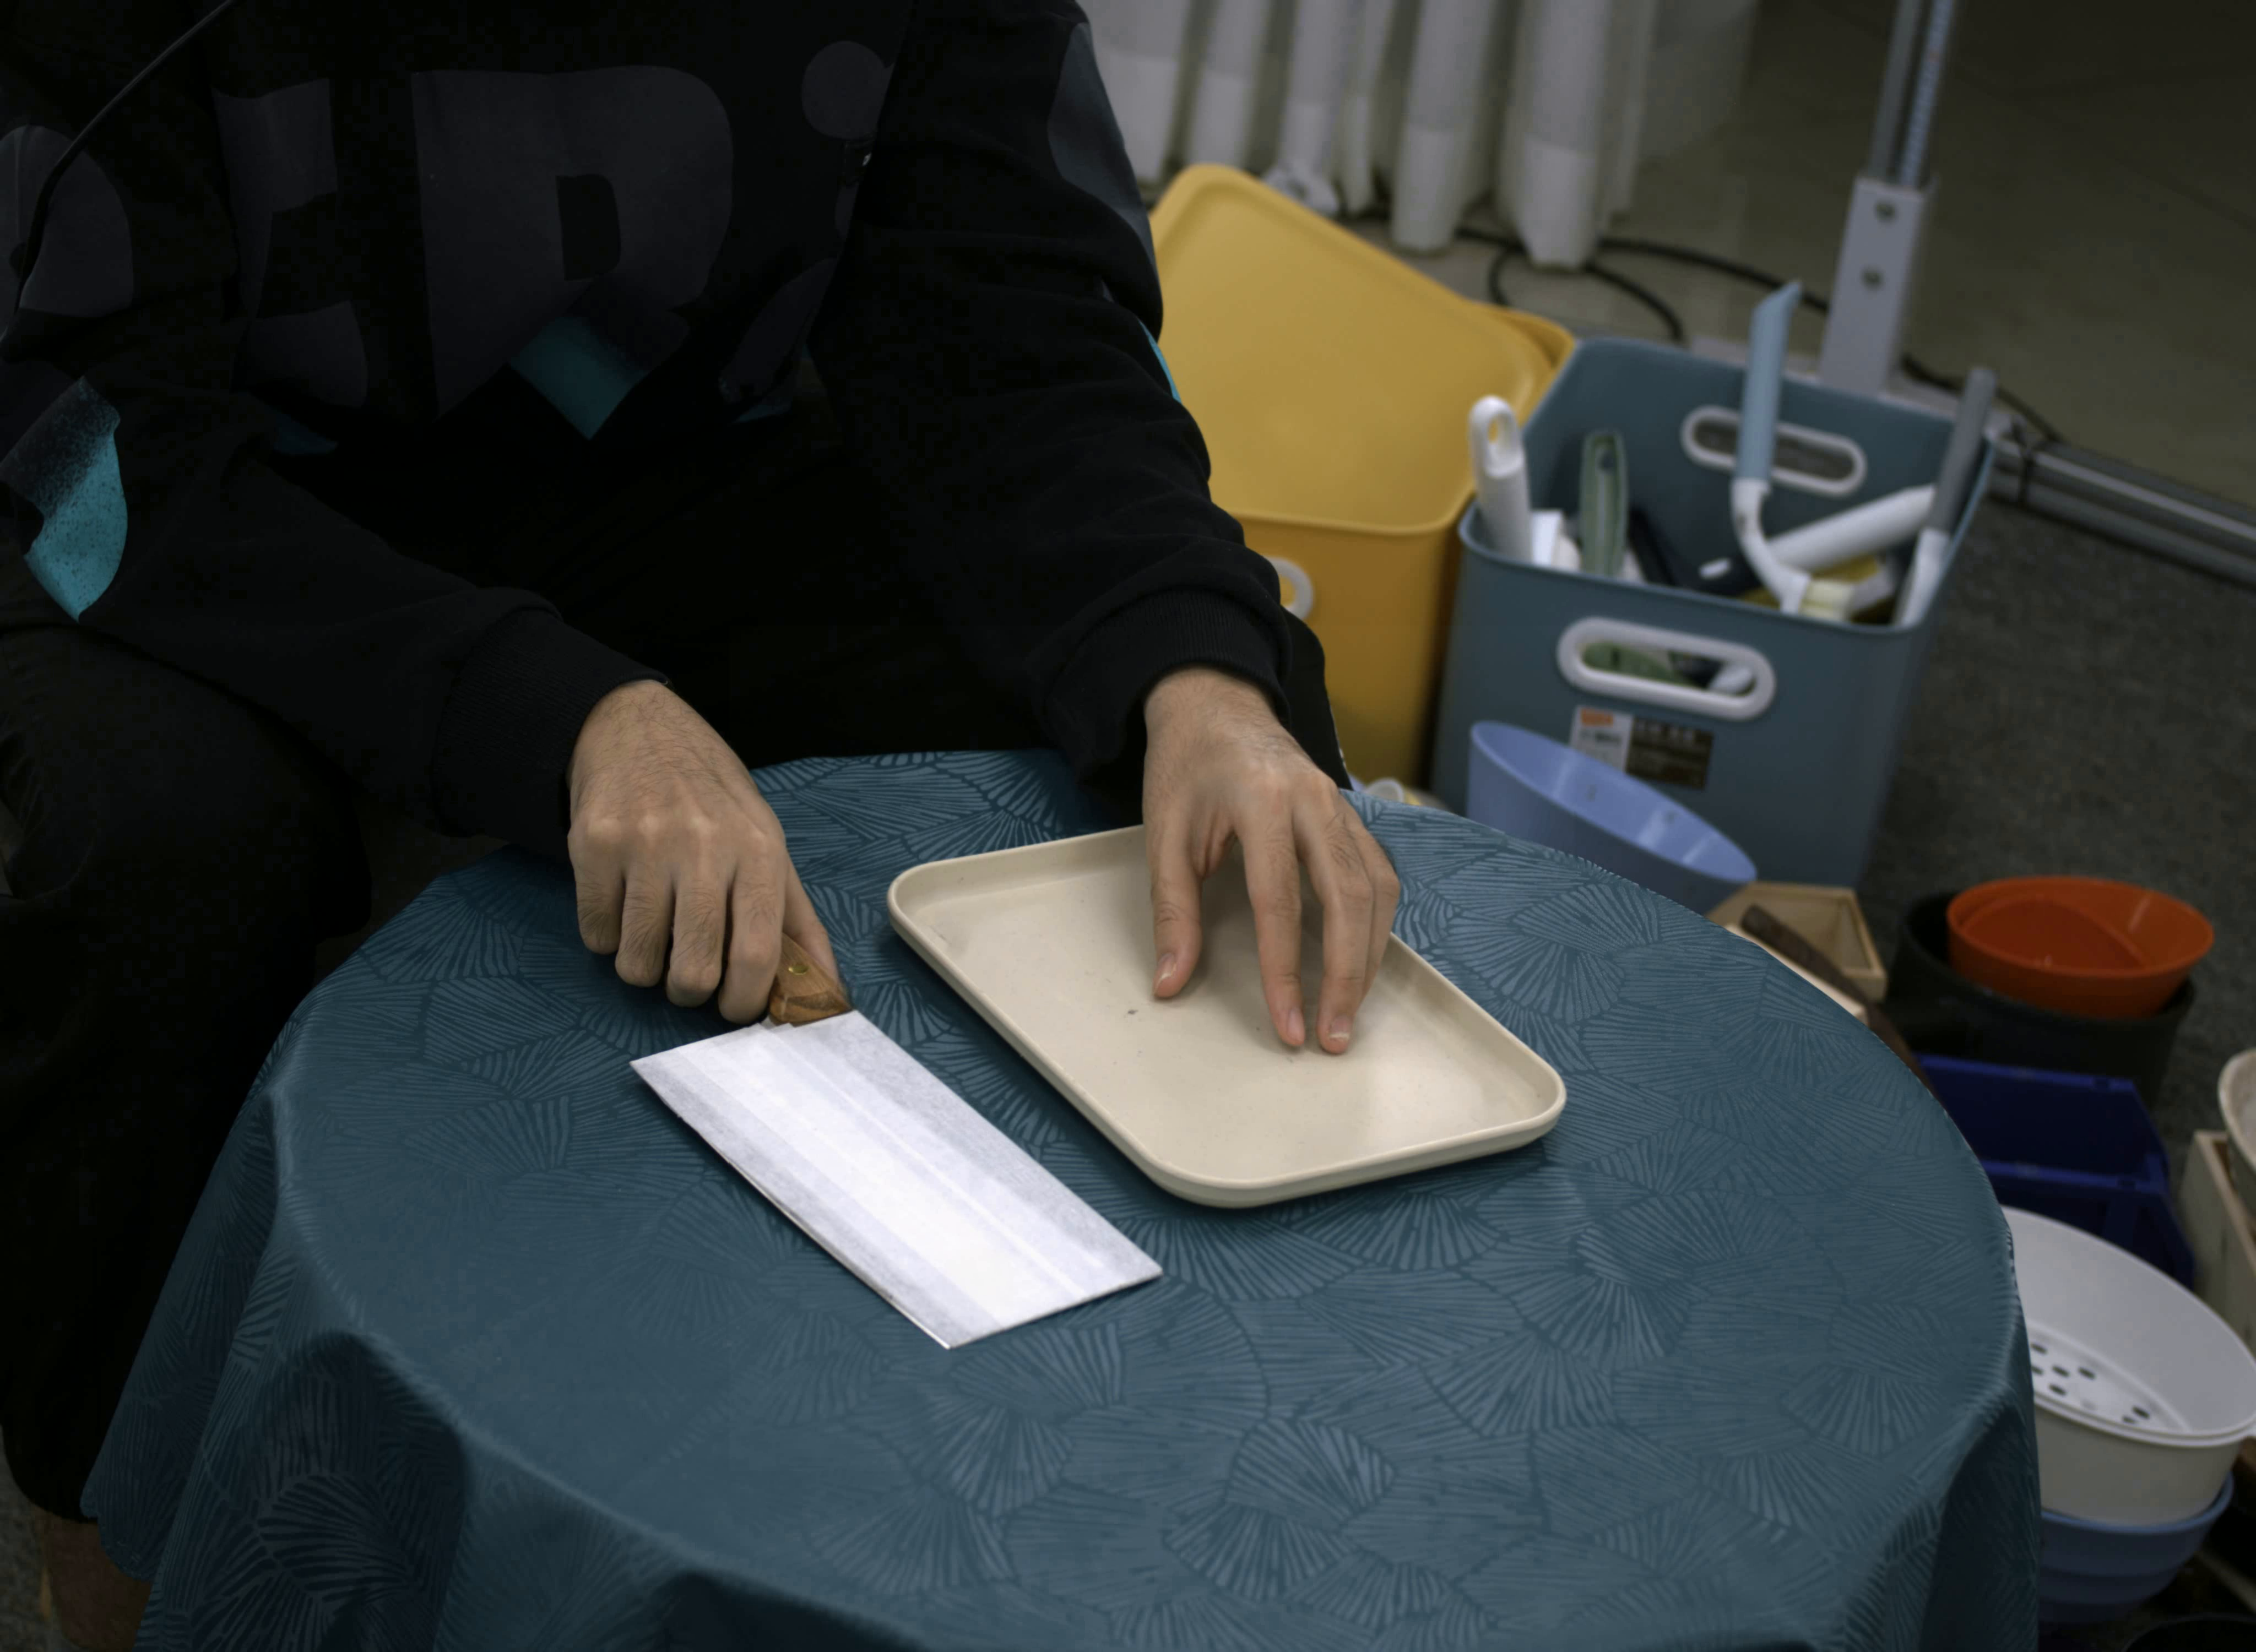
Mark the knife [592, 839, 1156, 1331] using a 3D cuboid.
[{"bbox_3d":[-0.113,0.088,1.830,0.092,0.021,0.308,-16,37,-34],"label":"knife"}]

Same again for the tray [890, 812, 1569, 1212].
[{"bbox_3d":[0.033,0.065,1.903,0.170,0.017,0.242,-11,32,-28],"label":"tray"}]
